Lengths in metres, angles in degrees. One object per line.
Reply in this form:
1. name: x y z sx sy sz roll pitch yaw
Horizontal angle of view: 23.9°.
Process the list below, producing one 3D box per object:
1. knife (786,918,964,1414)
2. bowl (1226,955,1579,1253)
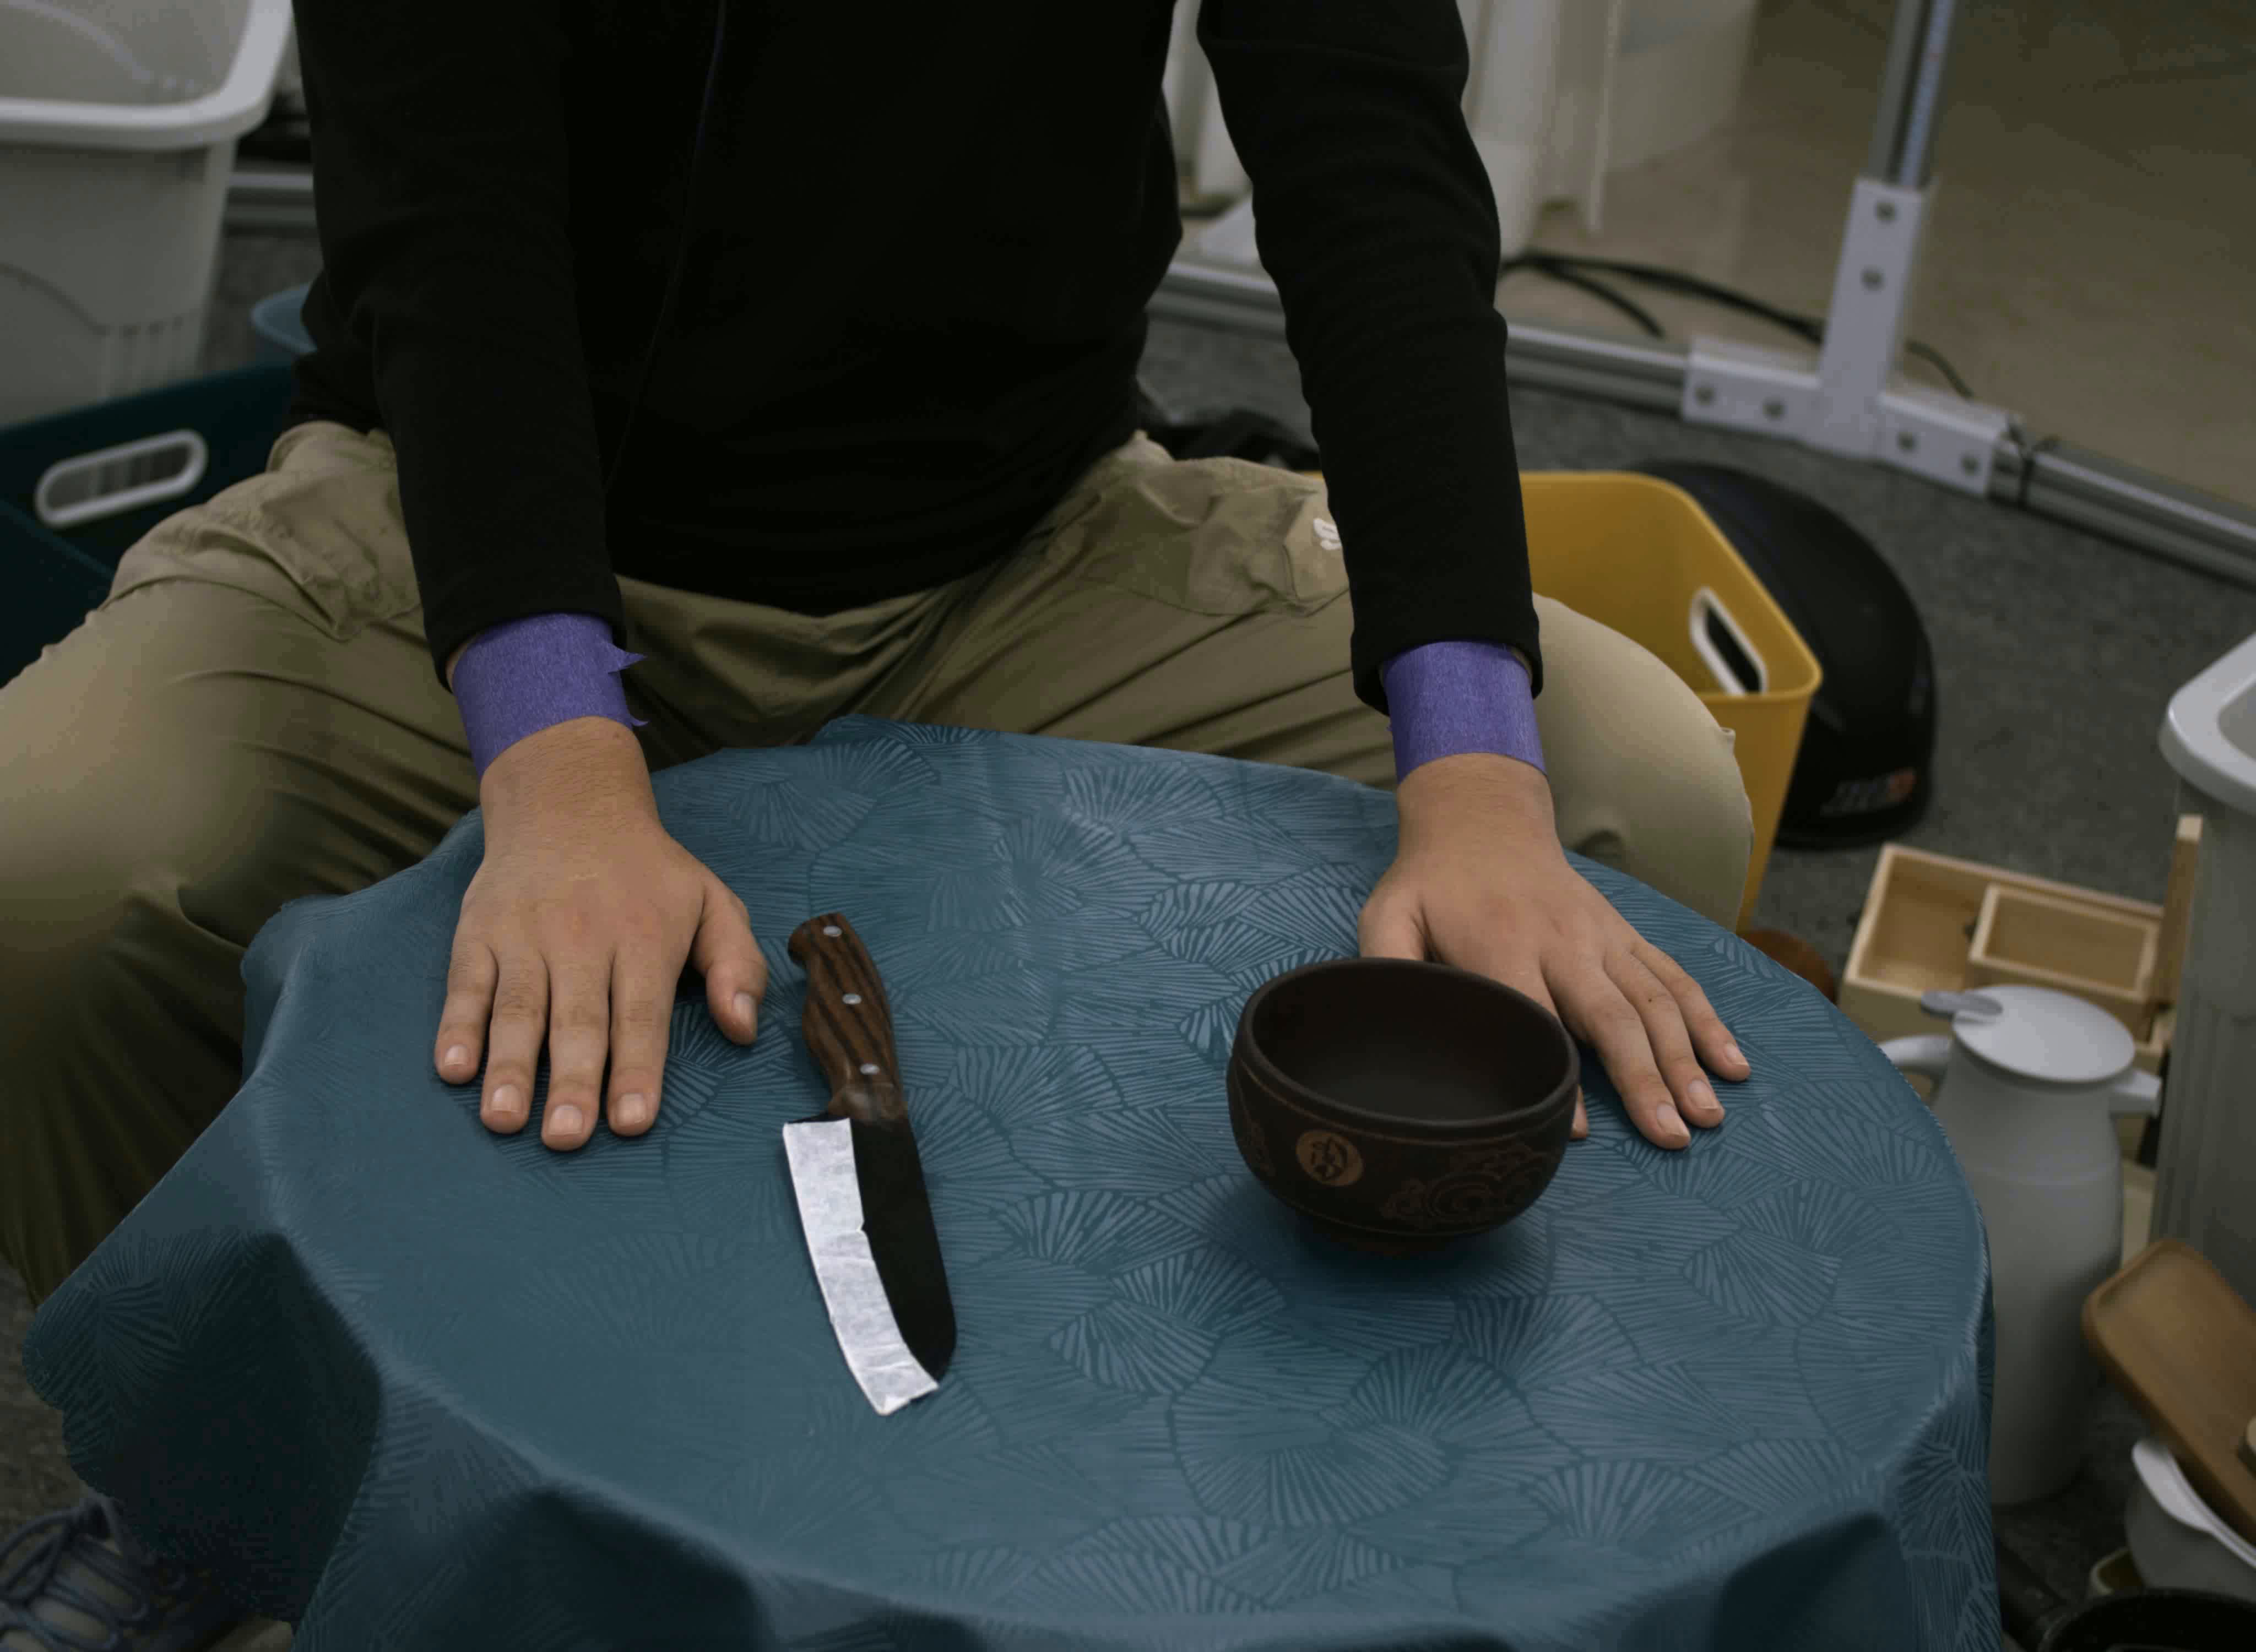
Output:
1. knife: -0.090 0.112 1.792 0.050 0.020 0.291 -2 30 -7
2. bowl: 0.091 0.100 1.795 0.117 0.069 0.119 4 26 -2
